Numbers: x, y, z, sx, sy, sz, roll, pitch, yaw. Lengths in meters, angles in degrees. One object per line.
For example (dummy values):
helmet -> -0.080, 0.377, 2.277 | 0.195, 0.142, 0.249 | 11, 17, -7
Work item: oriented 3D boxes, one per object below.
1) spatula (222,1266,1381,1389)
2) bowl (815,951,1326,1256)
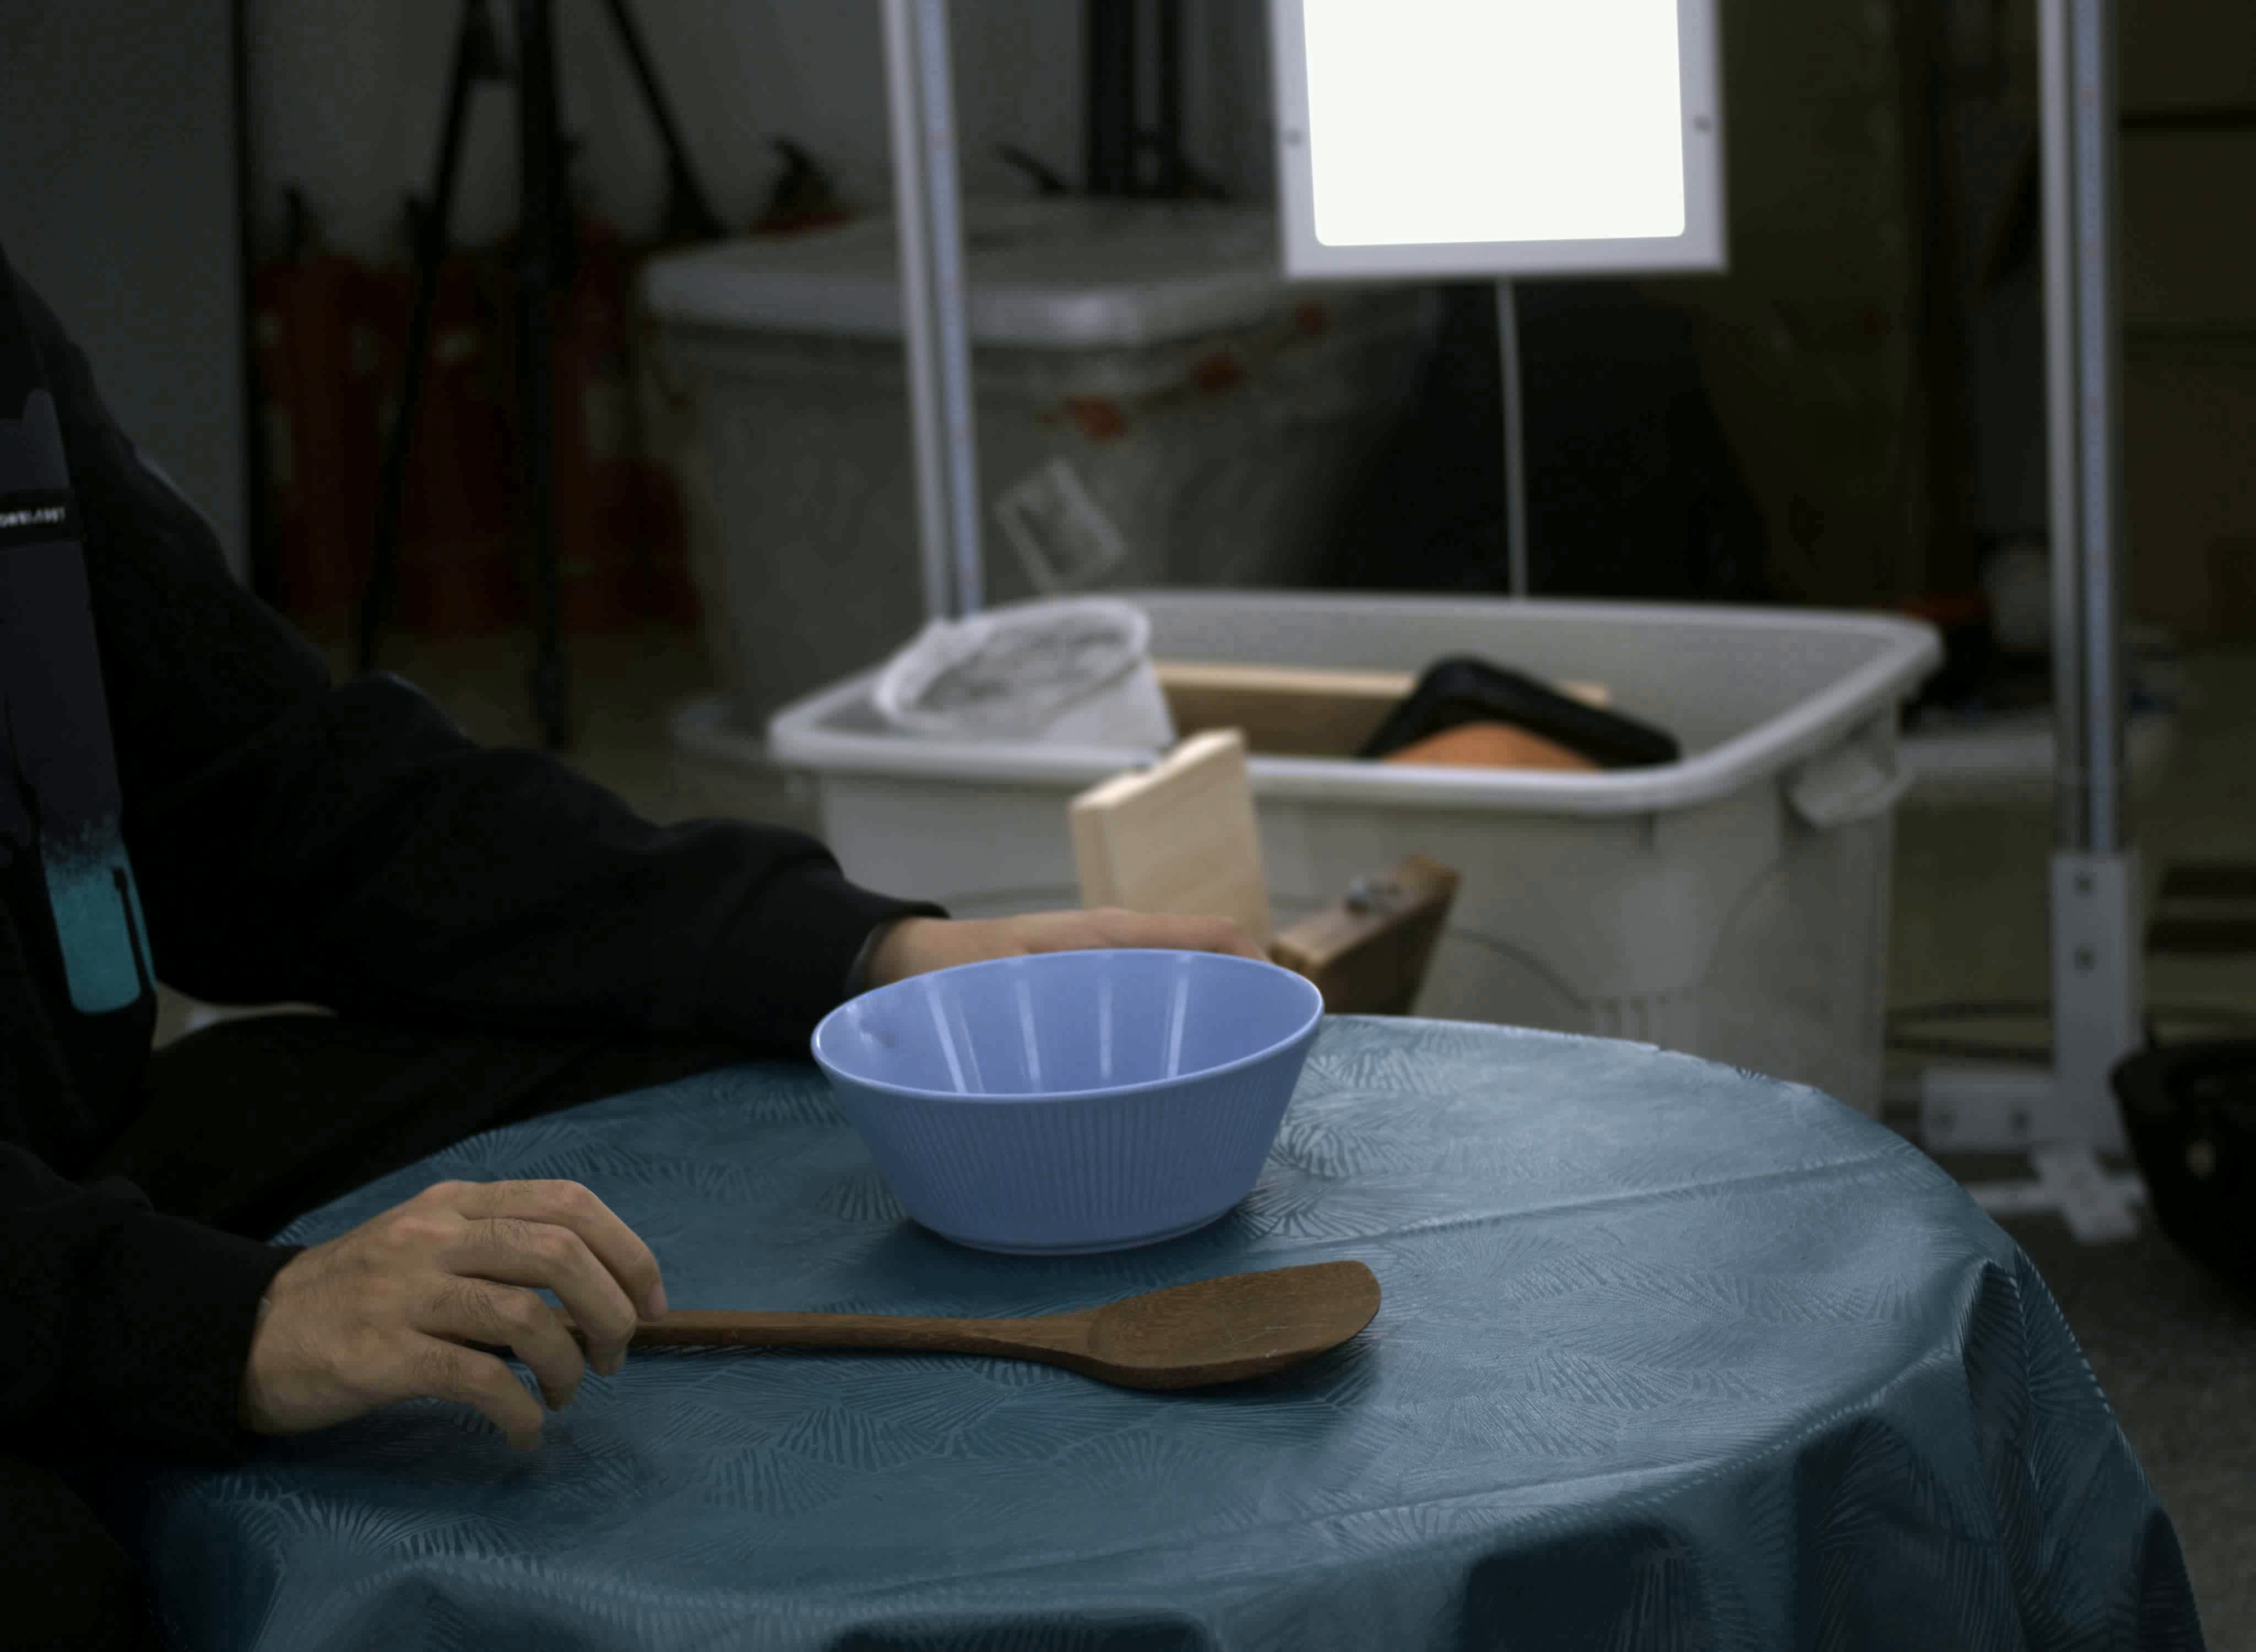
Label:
spatula -> -0.109, 0.161, 1.766 | 0.389, 0.016, 0.095 | -1, 14, 15
bowl -> -0.017, 0.097, 1.878 | 0.175, 0.070, 0.176 | -6, 13, 0
